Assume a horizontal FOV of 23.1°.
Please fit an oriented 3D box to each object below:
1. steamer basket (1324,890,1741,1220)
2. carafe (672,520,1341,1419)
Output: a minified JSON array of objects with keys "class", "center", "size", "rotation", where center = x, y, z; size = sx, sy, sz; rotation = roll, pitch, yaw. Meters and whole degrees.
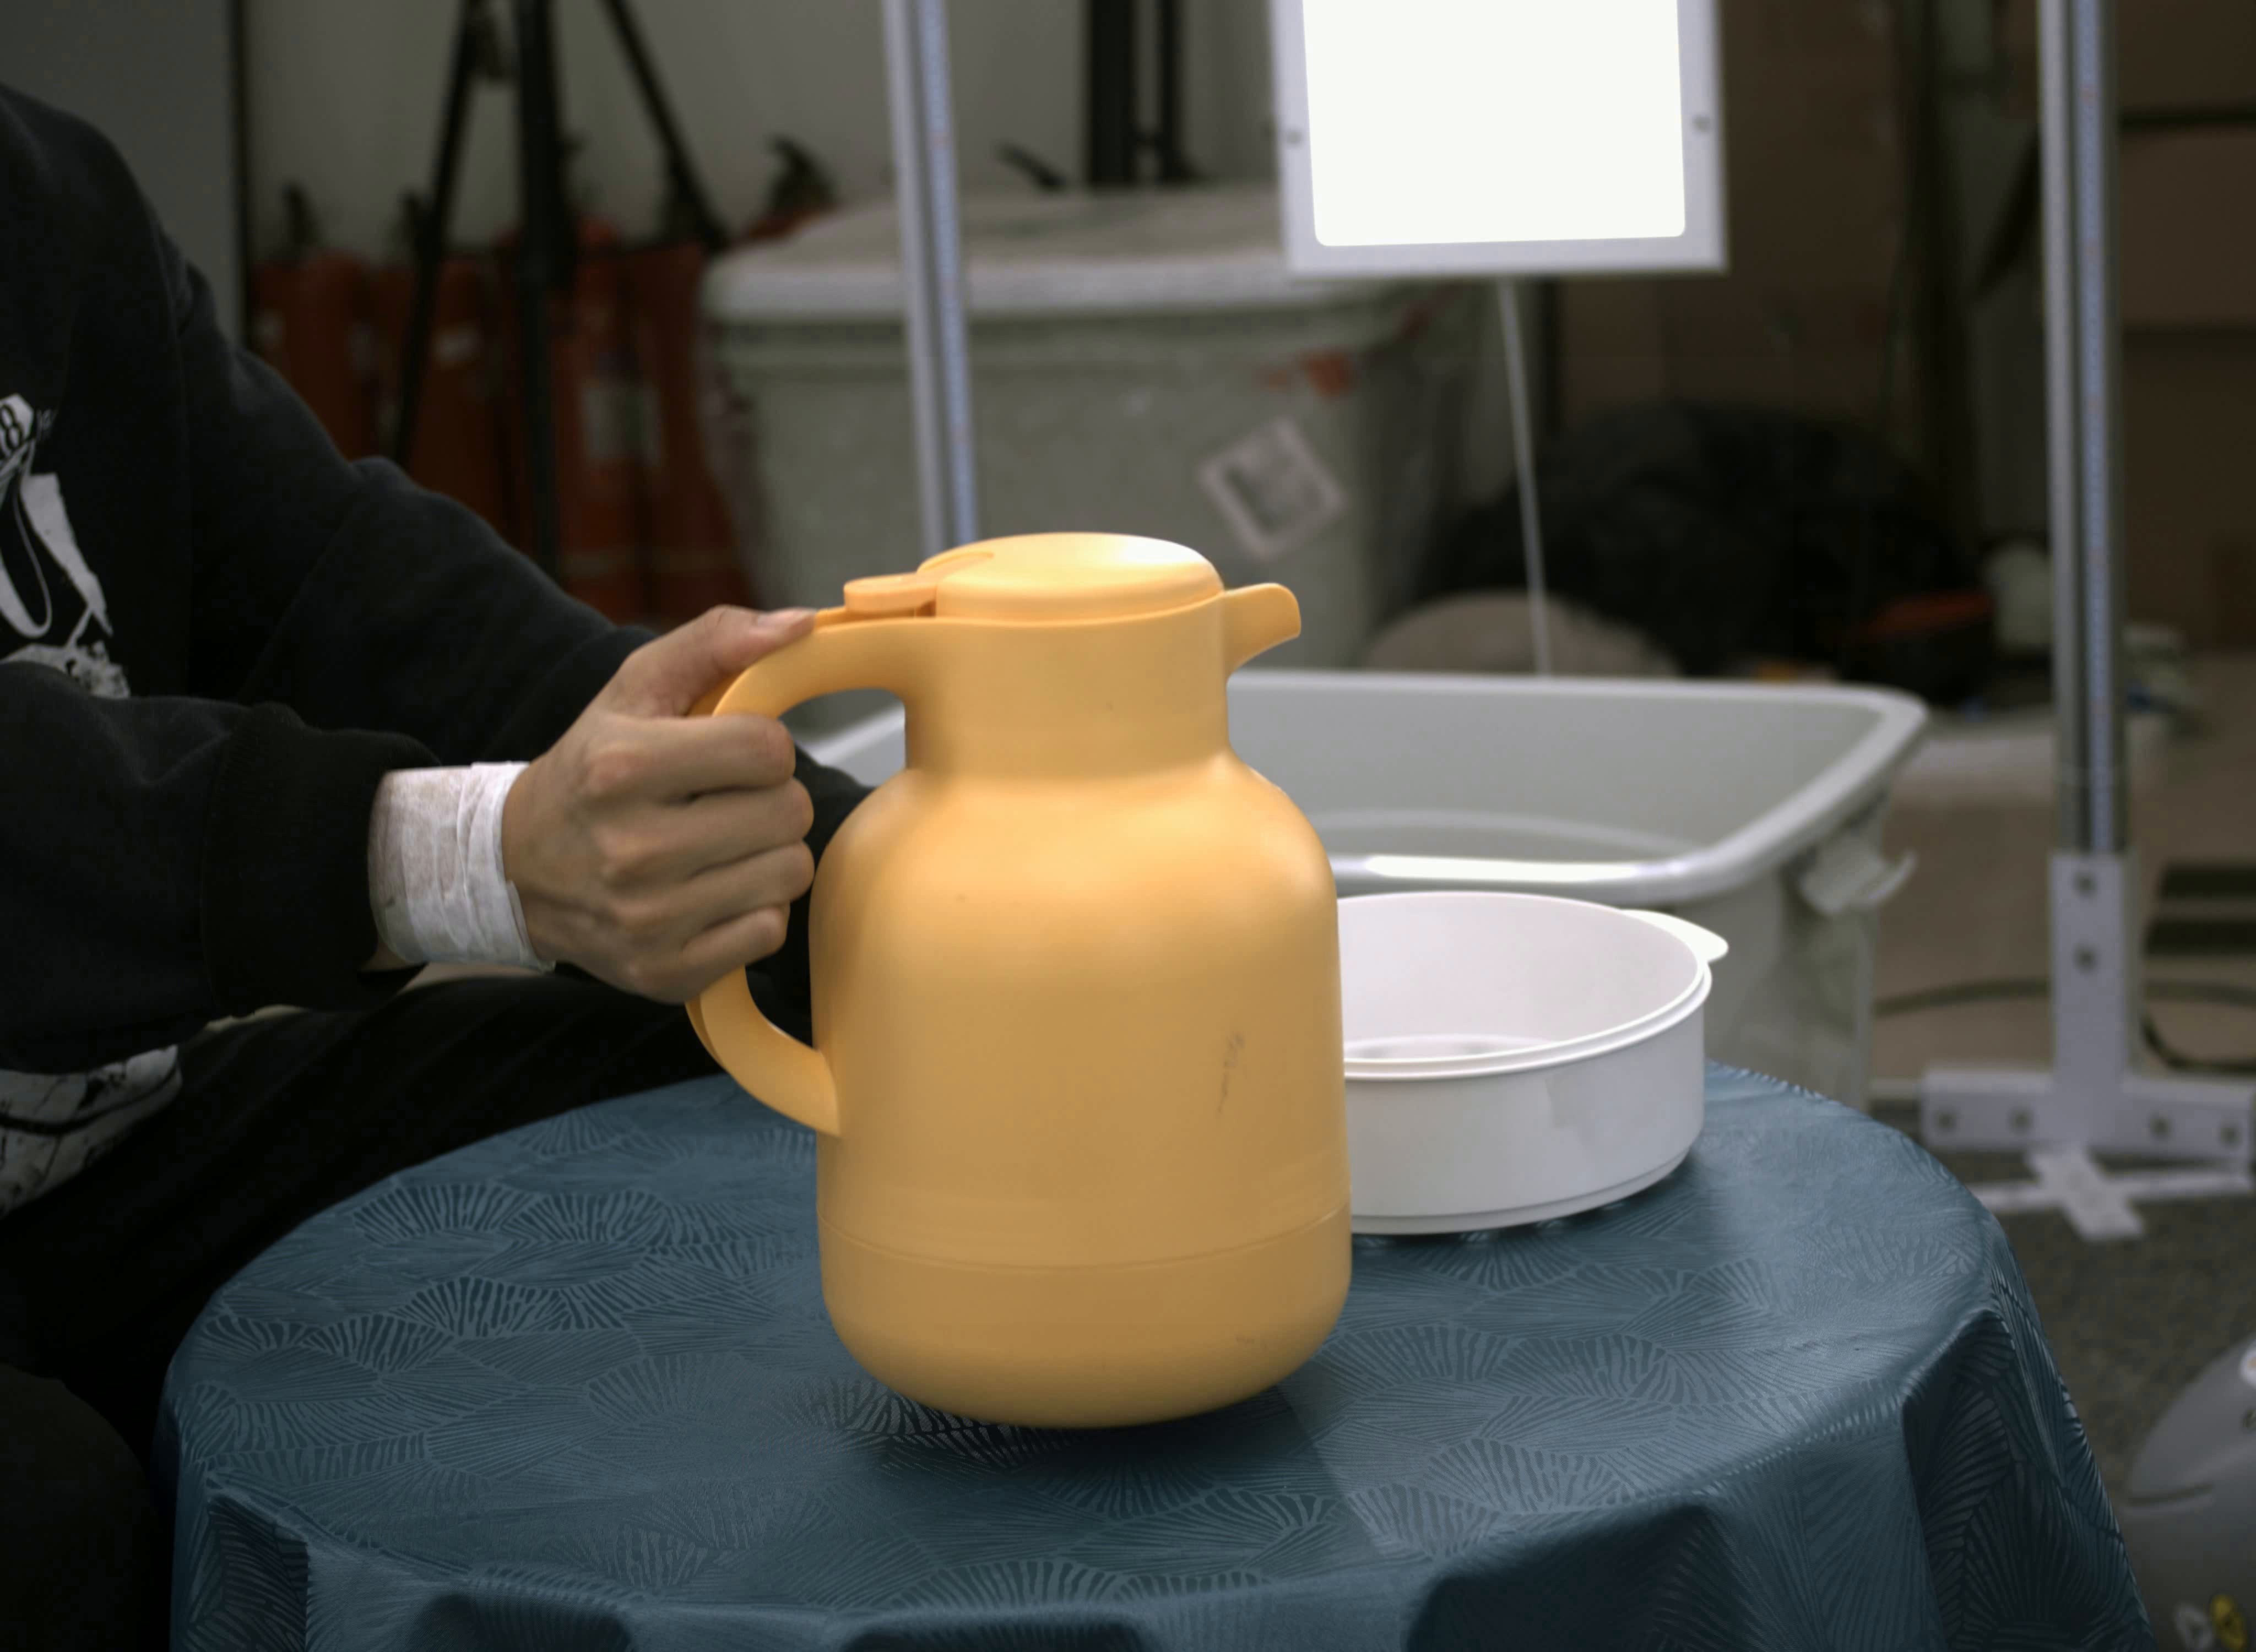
[{"class":"steamer basket","center":[0.105,0.079,1.893],"size":[0.226,0.069,0.205],"rotation":[-8,16,-25]},{"class":"carafe","center":[-0.036,0.040,1.656],"size":[0.199,0.261,0.165],"rotation":[-3,10,-14]}]
